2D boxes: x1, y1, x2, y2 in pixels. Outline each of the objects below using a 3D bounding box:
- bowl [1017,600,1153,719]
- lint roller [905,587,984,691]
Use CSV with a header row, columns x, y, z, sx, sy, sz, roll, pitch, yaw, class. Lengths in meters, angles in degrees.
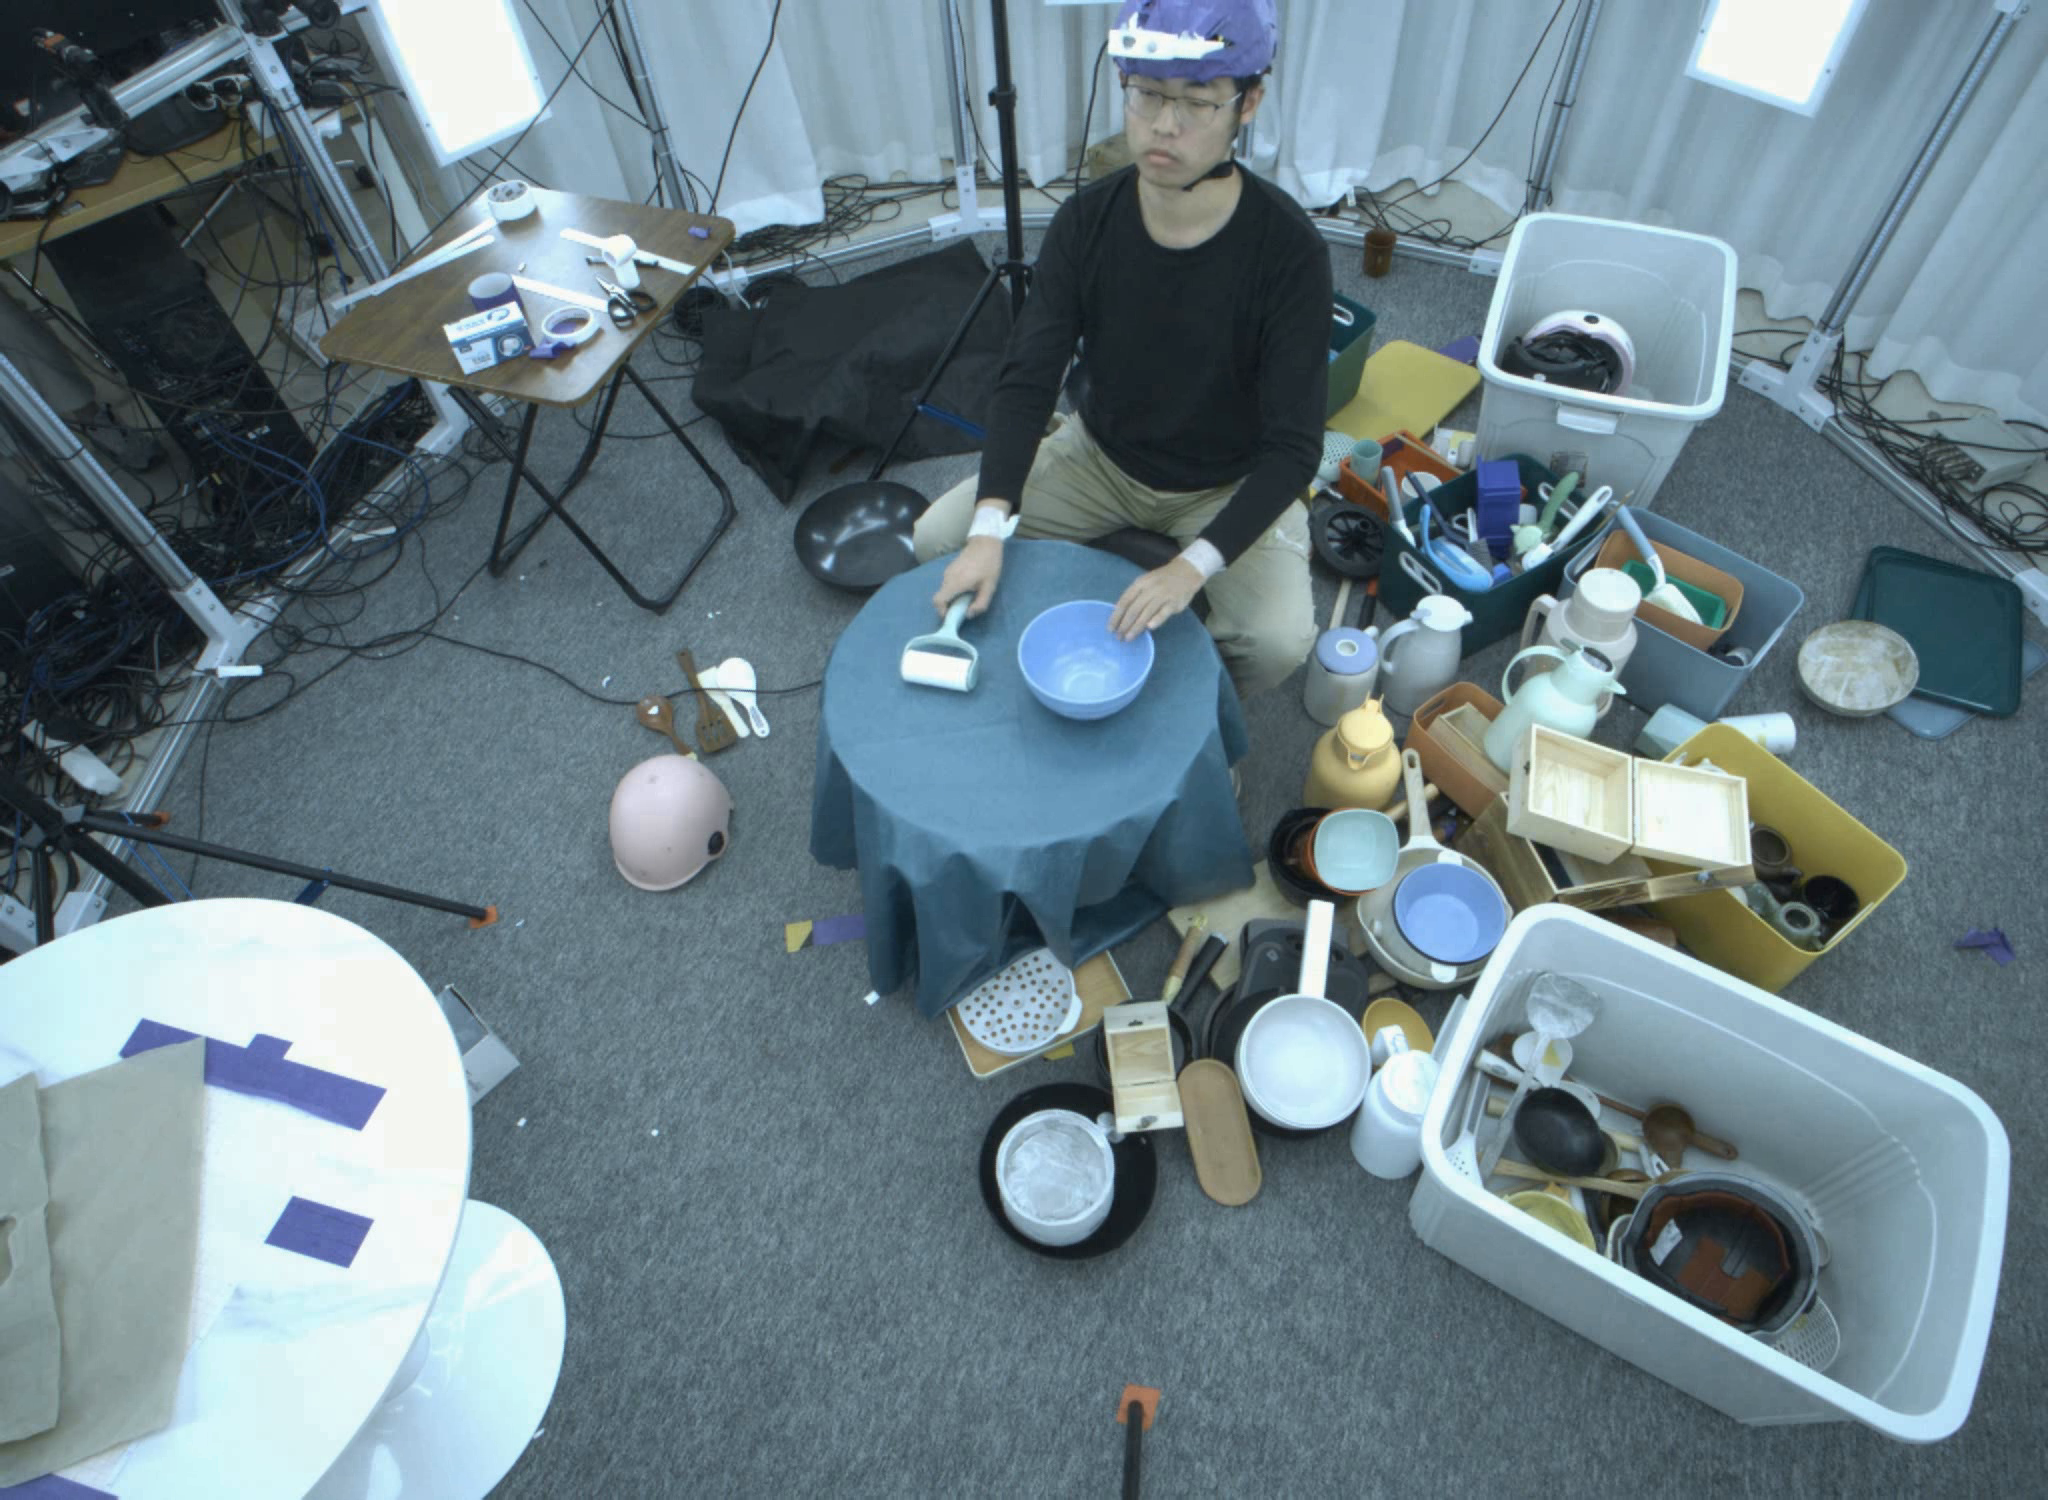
x,y,z,sx,sy,sz,roll,pitch,yaw,class
0.091,-0.118,1.809,0.196,0.096,0.194,-1,54,3,bowl
-0.104,-0.180,1.880,0.116,0.049,0.196,9,61,11,lint roller
